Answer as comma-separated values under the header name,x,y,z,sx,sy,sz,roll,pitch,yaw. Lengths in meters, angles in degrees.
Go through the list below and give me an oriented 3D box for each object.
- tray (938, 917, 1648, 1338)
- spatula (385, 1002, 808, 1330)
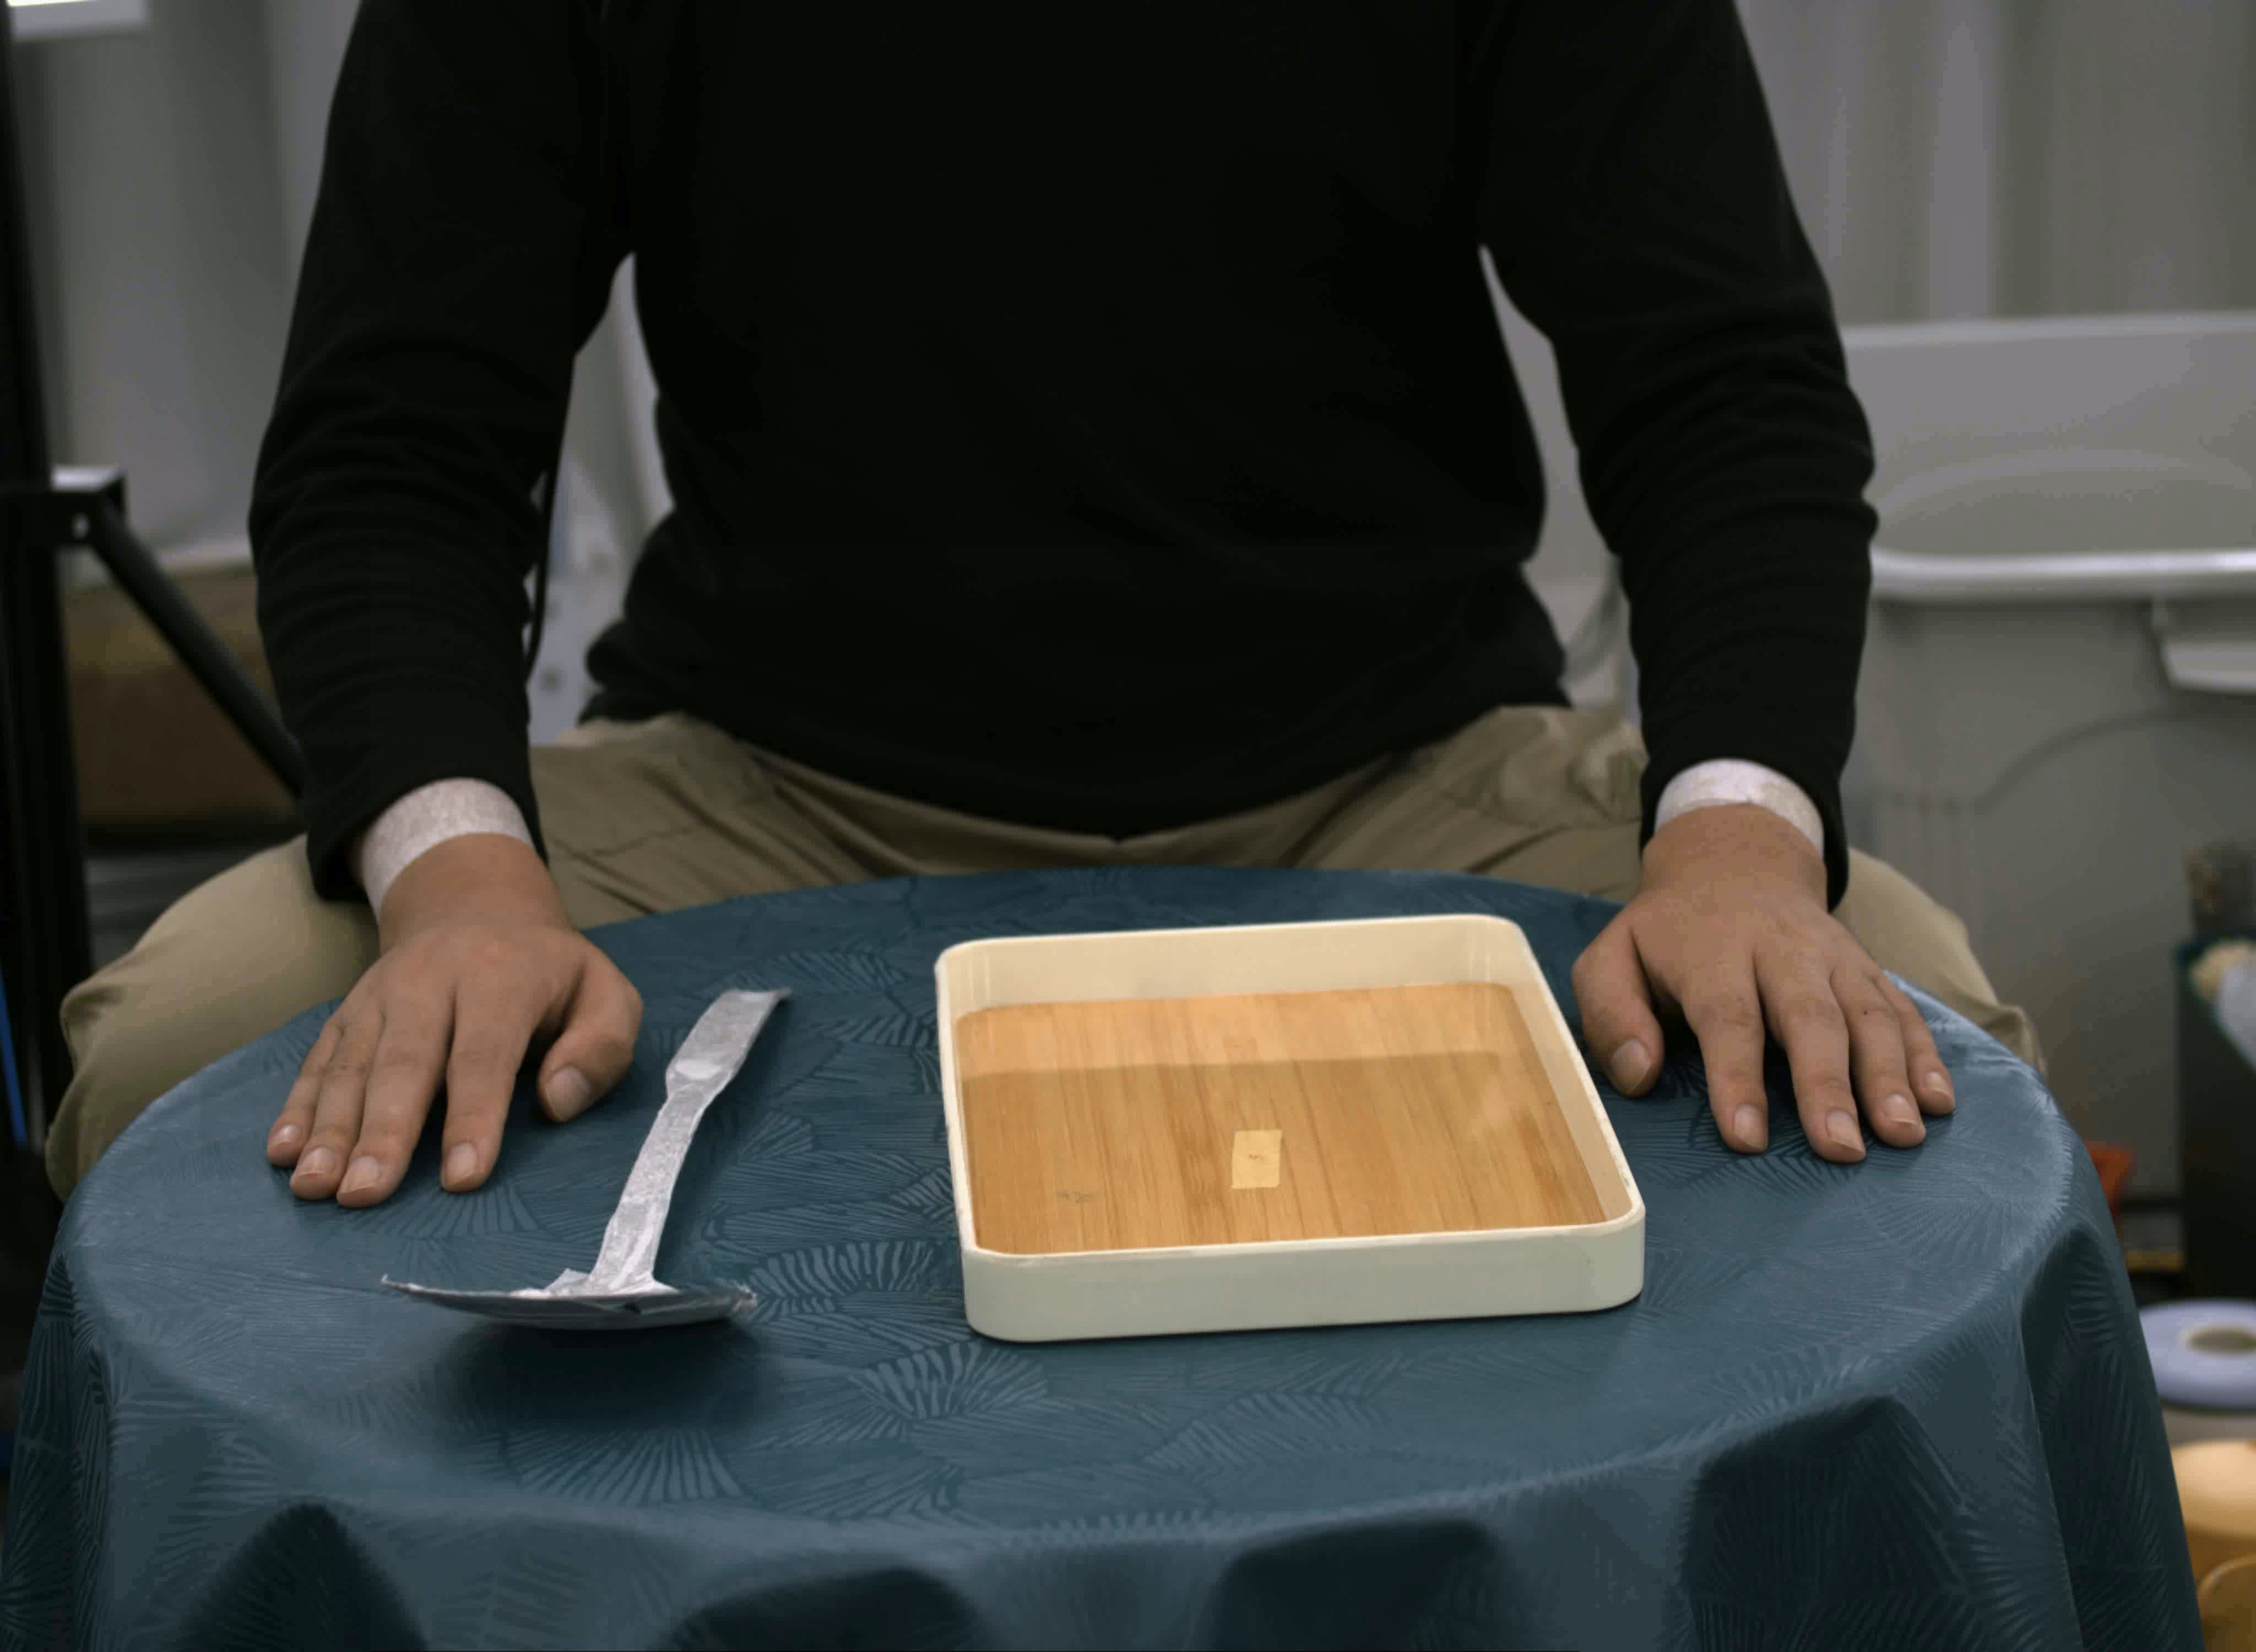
name,x,y,z,sx,sy,sz,roll,pitch,yaw
tray,0.041,0.086,1.580,0.190,0.027,0.302,-3,16,-2
spatula,-0.134,0.091,1.569,0.099,0.045,0.364,-2,16,6
